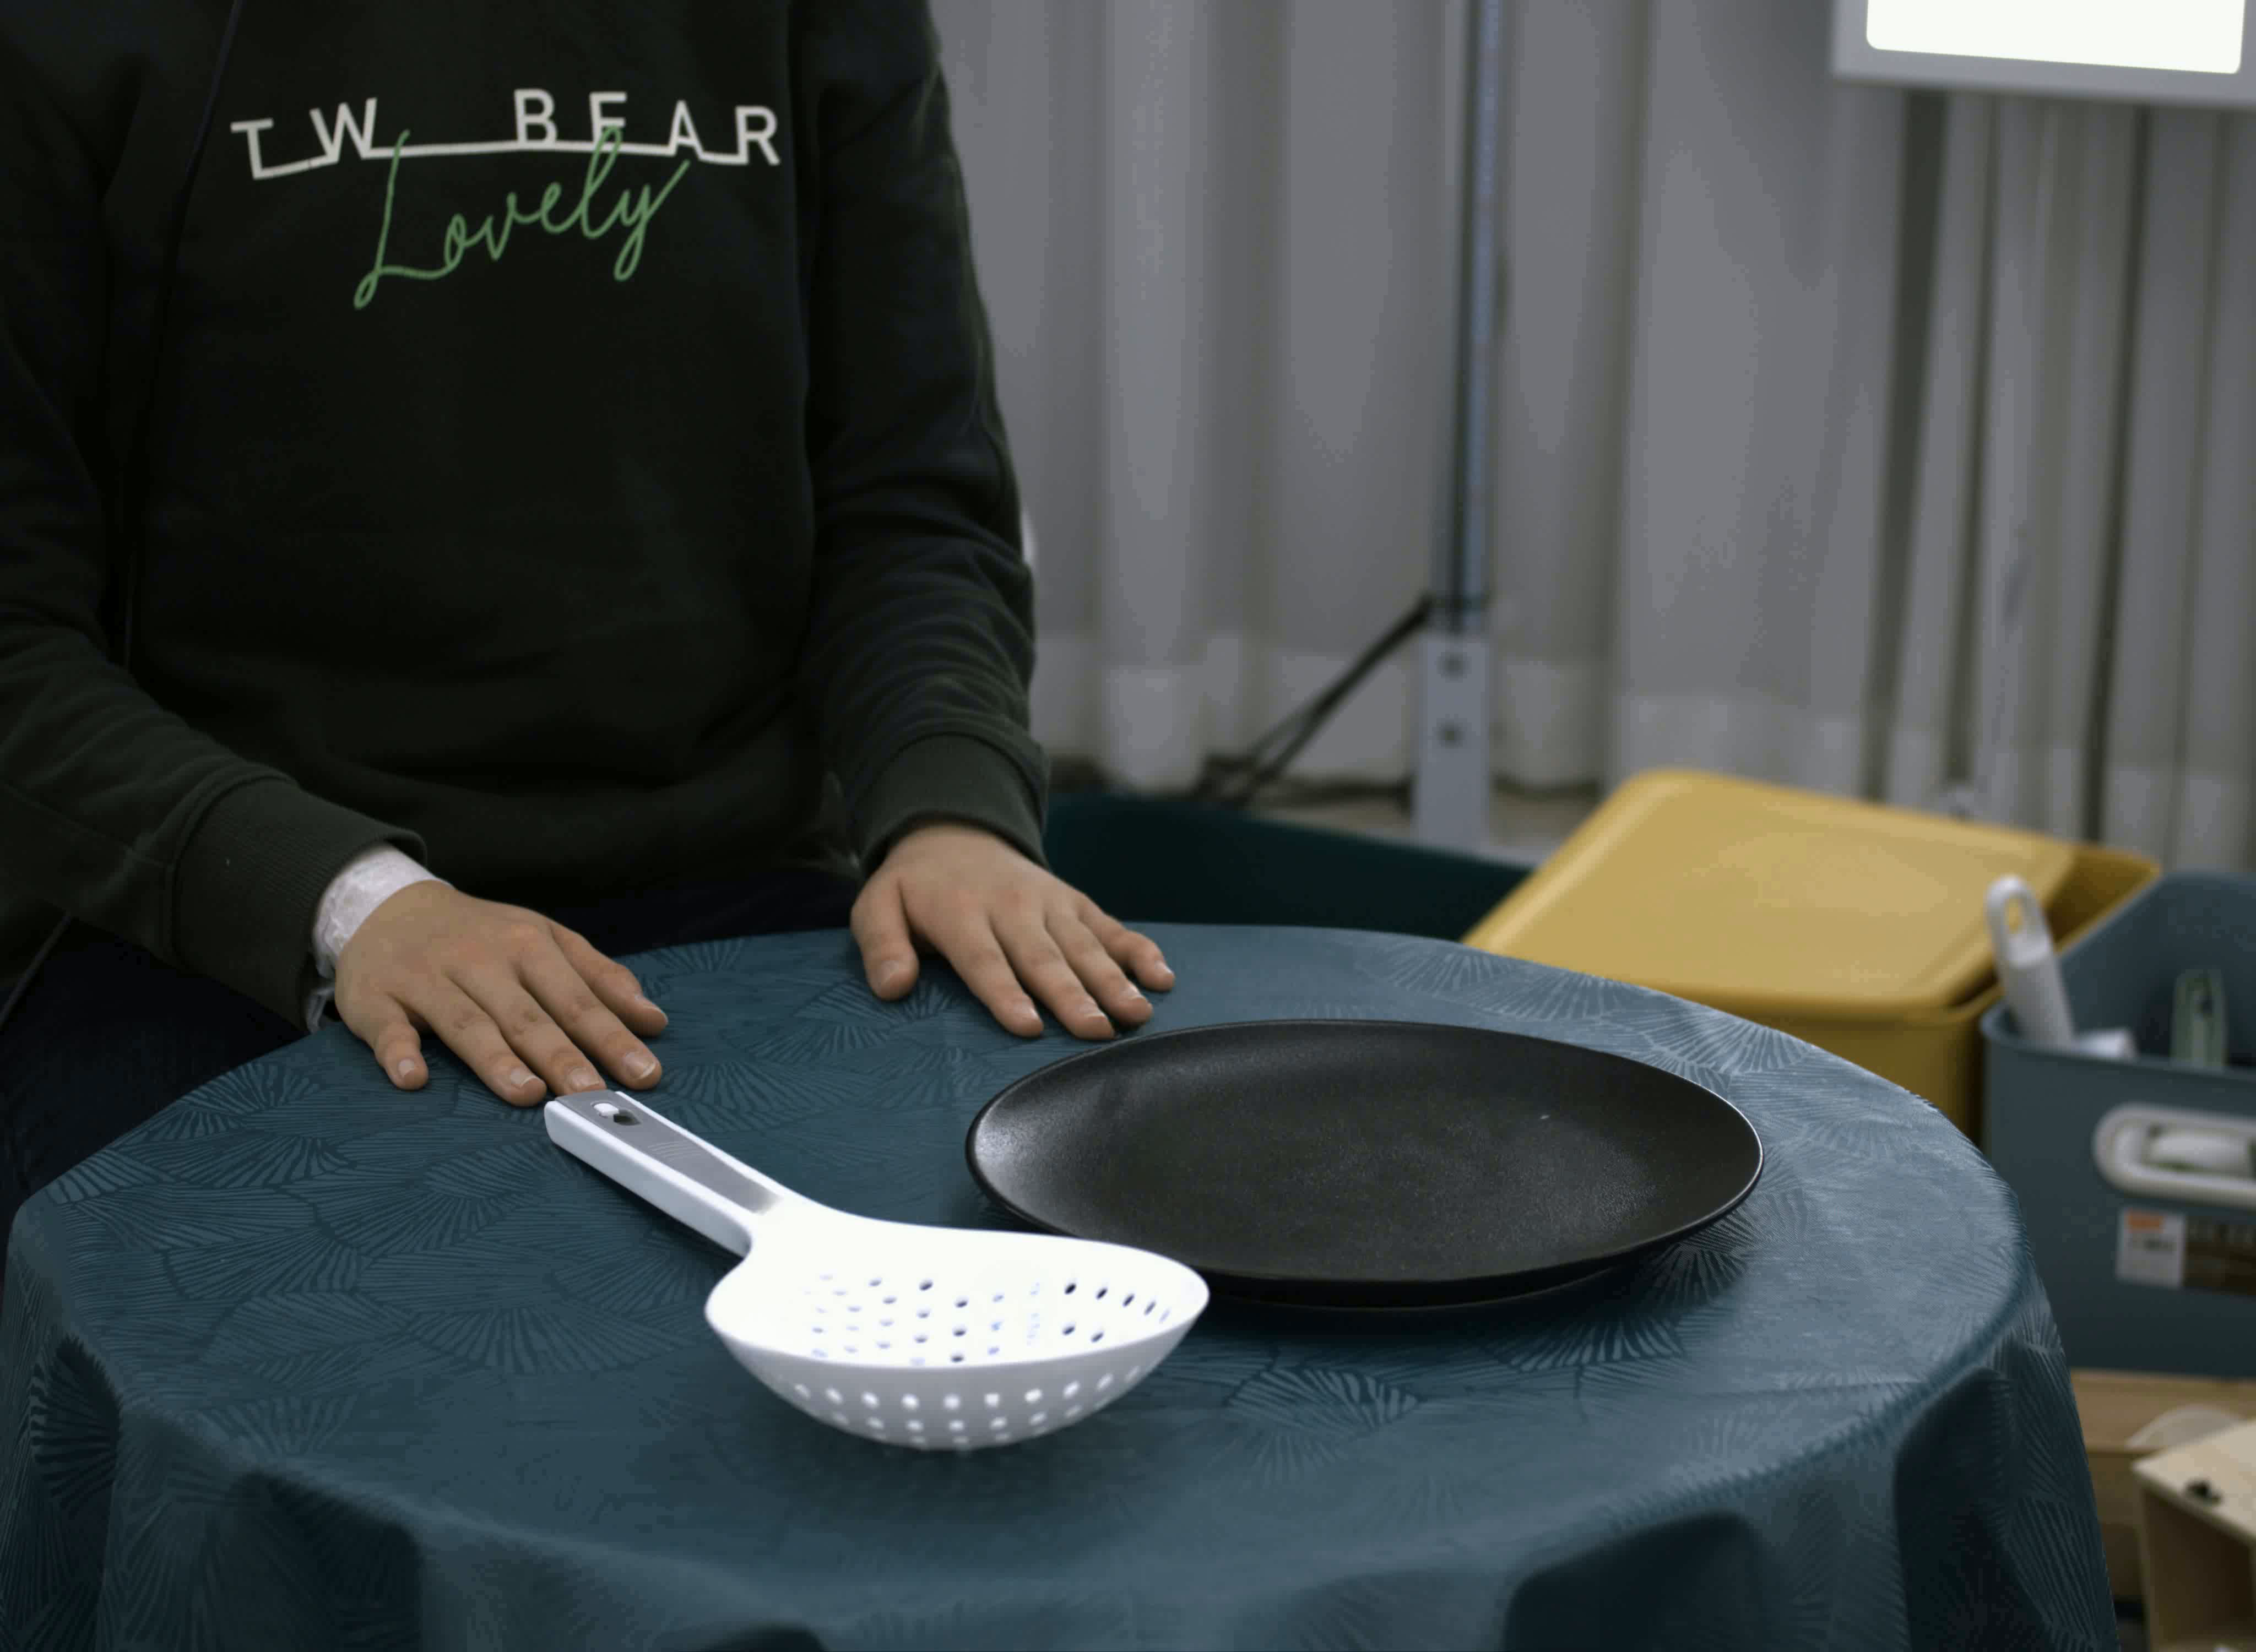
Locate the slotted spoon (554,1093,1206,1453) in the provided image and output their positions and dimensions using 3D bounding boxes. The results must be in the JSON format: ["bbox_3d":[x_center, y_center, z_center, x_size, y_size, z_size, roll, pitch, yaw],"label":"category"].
[{"bbox_3d":[-0.095,0.119,1.516,0.136,0.046,0.345,-5,16,-26],"label":"slotted spoon"}]

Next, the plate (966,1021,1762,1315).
[{"bbox_3d":[0.072,0.106,1.610,0.243,0.023,0.243,1,16,0],"label":"plate"}]
